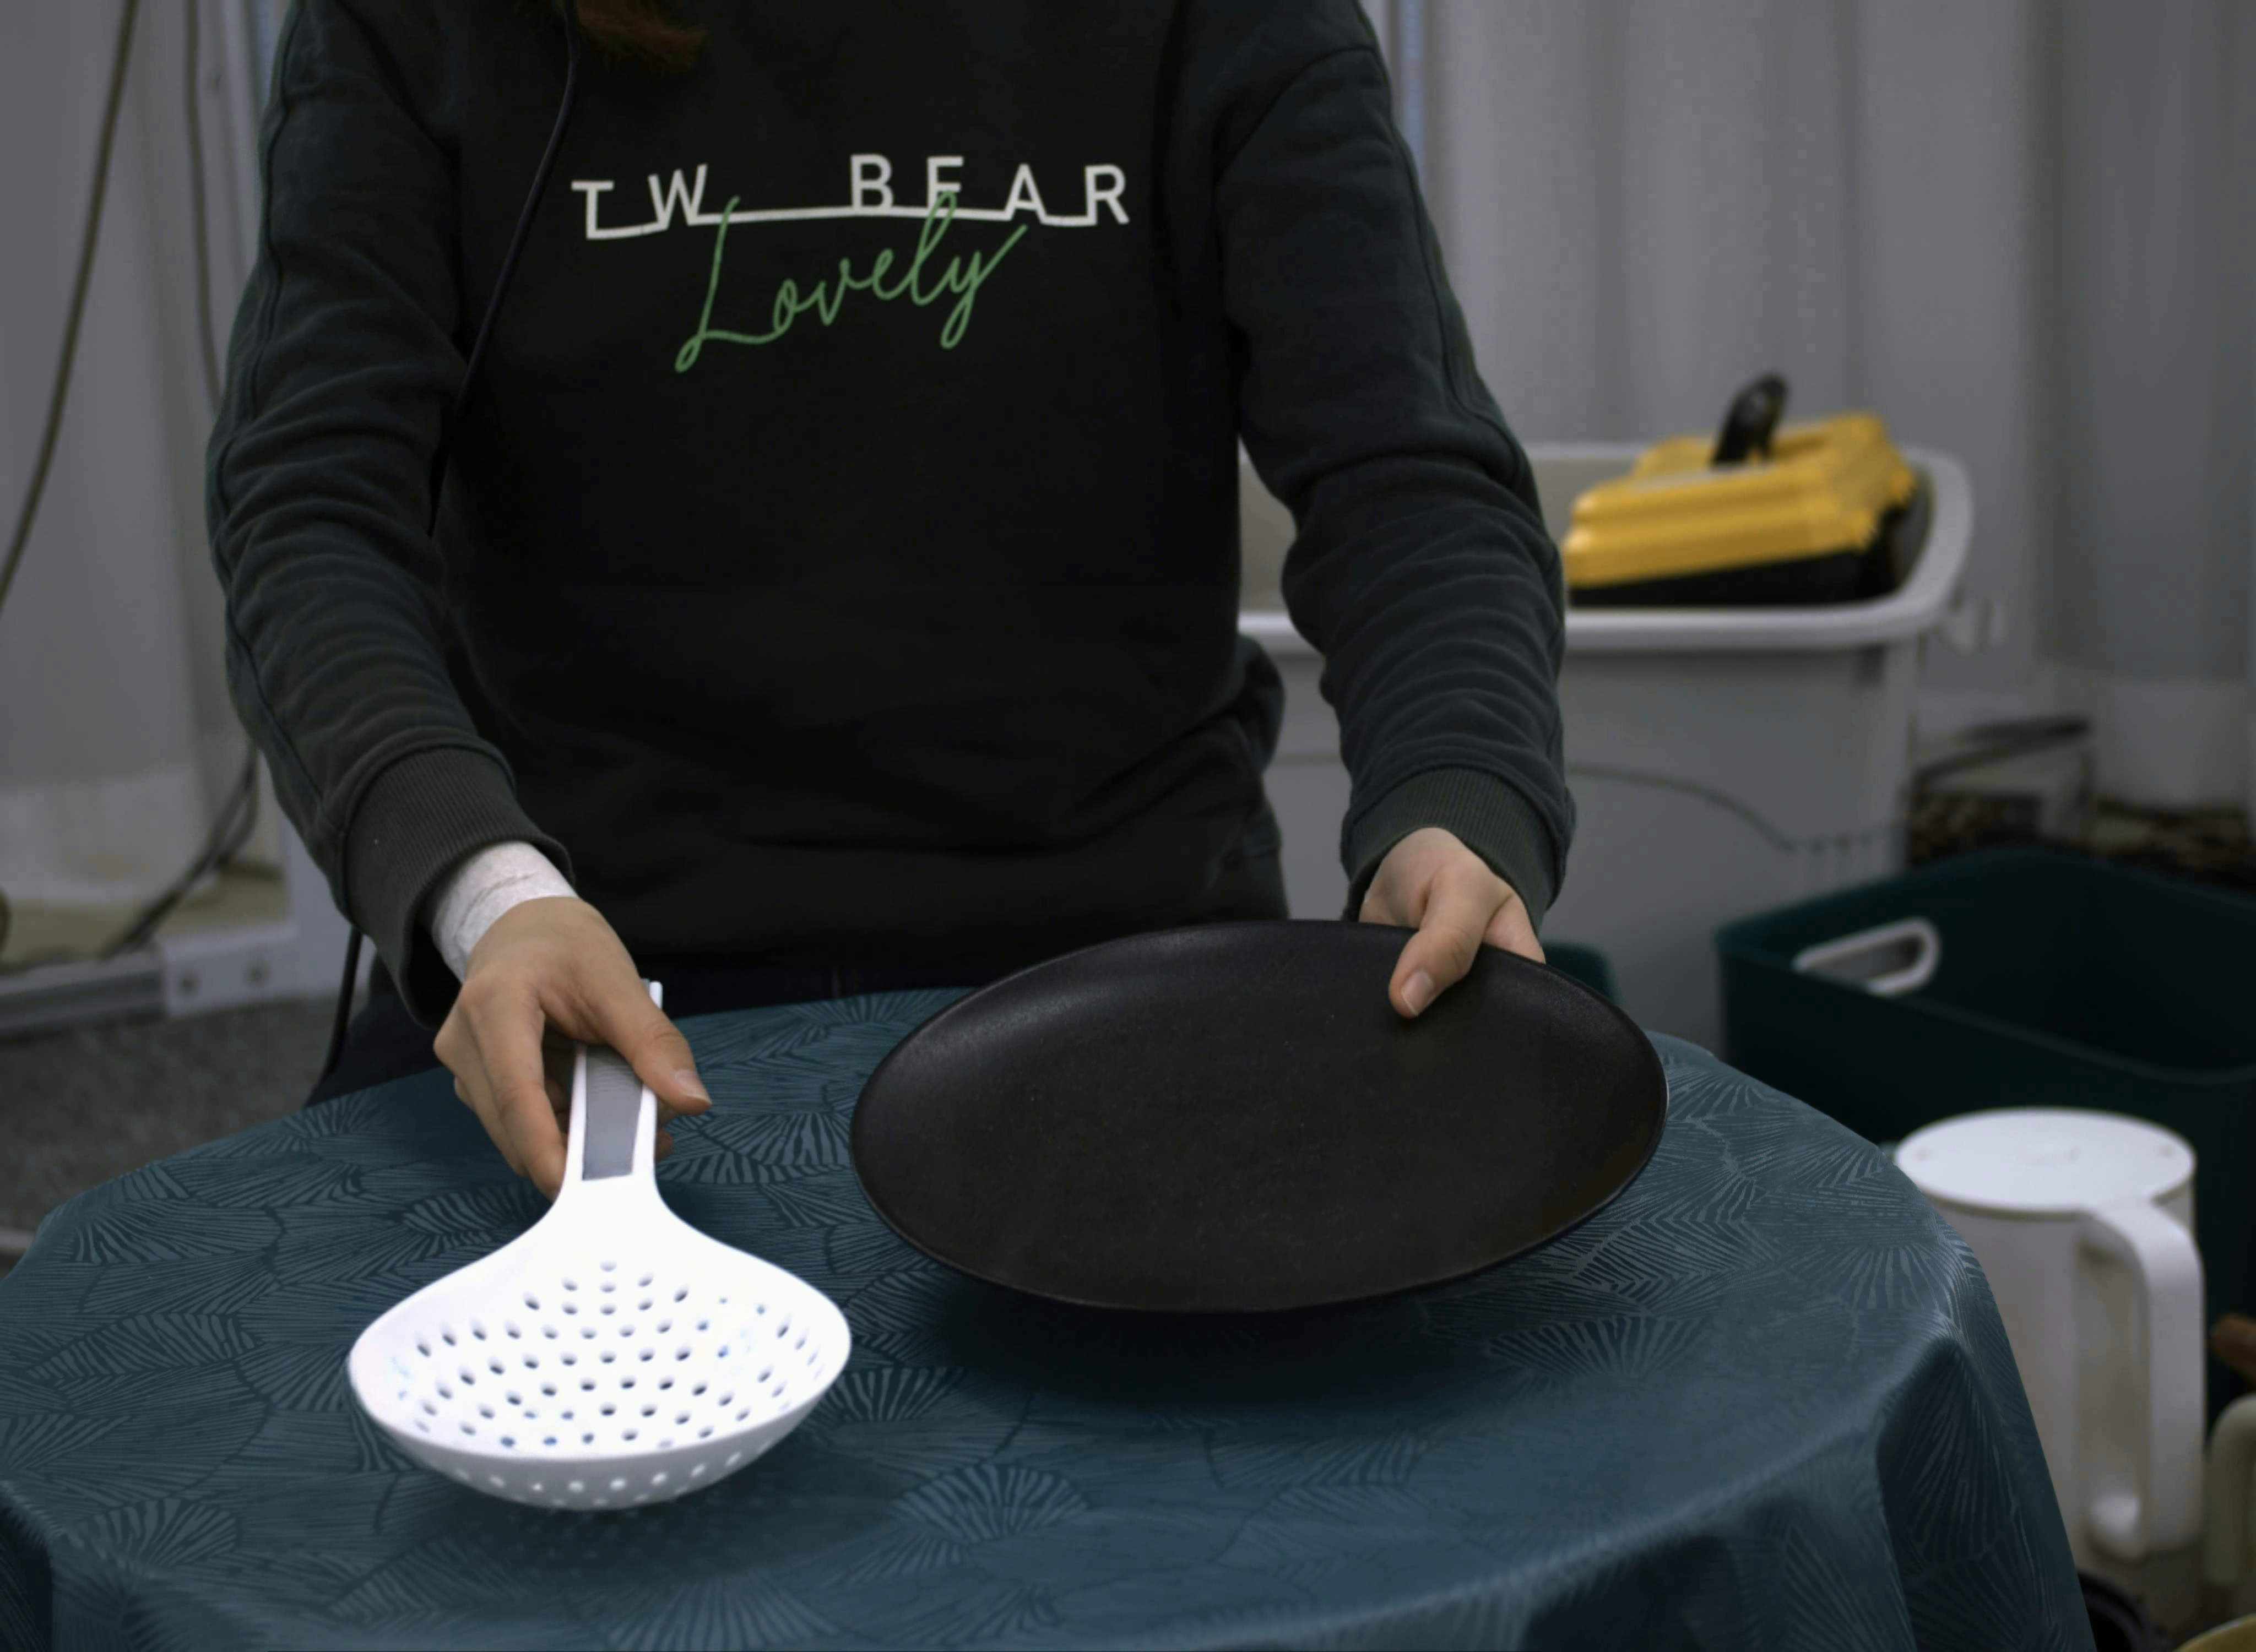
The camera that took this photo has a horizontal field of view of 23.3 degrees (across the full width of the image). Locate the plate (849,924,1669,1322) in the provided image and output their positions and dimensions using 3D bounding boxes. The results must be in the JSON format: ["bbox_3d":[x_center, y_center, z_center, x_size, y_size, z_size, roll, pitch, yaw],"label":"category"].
[{"bbox_3d":[0.039,0.091,1.621,0.243,0.023,0.247,-4,25,1],"label":"plate"}]

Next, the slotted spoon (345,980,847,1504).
[{"bbox_3d":[-0.151,0.112,1.585,0.135,0.045,0.353,-1,23,-3],"label":"slotted spoon"}]
